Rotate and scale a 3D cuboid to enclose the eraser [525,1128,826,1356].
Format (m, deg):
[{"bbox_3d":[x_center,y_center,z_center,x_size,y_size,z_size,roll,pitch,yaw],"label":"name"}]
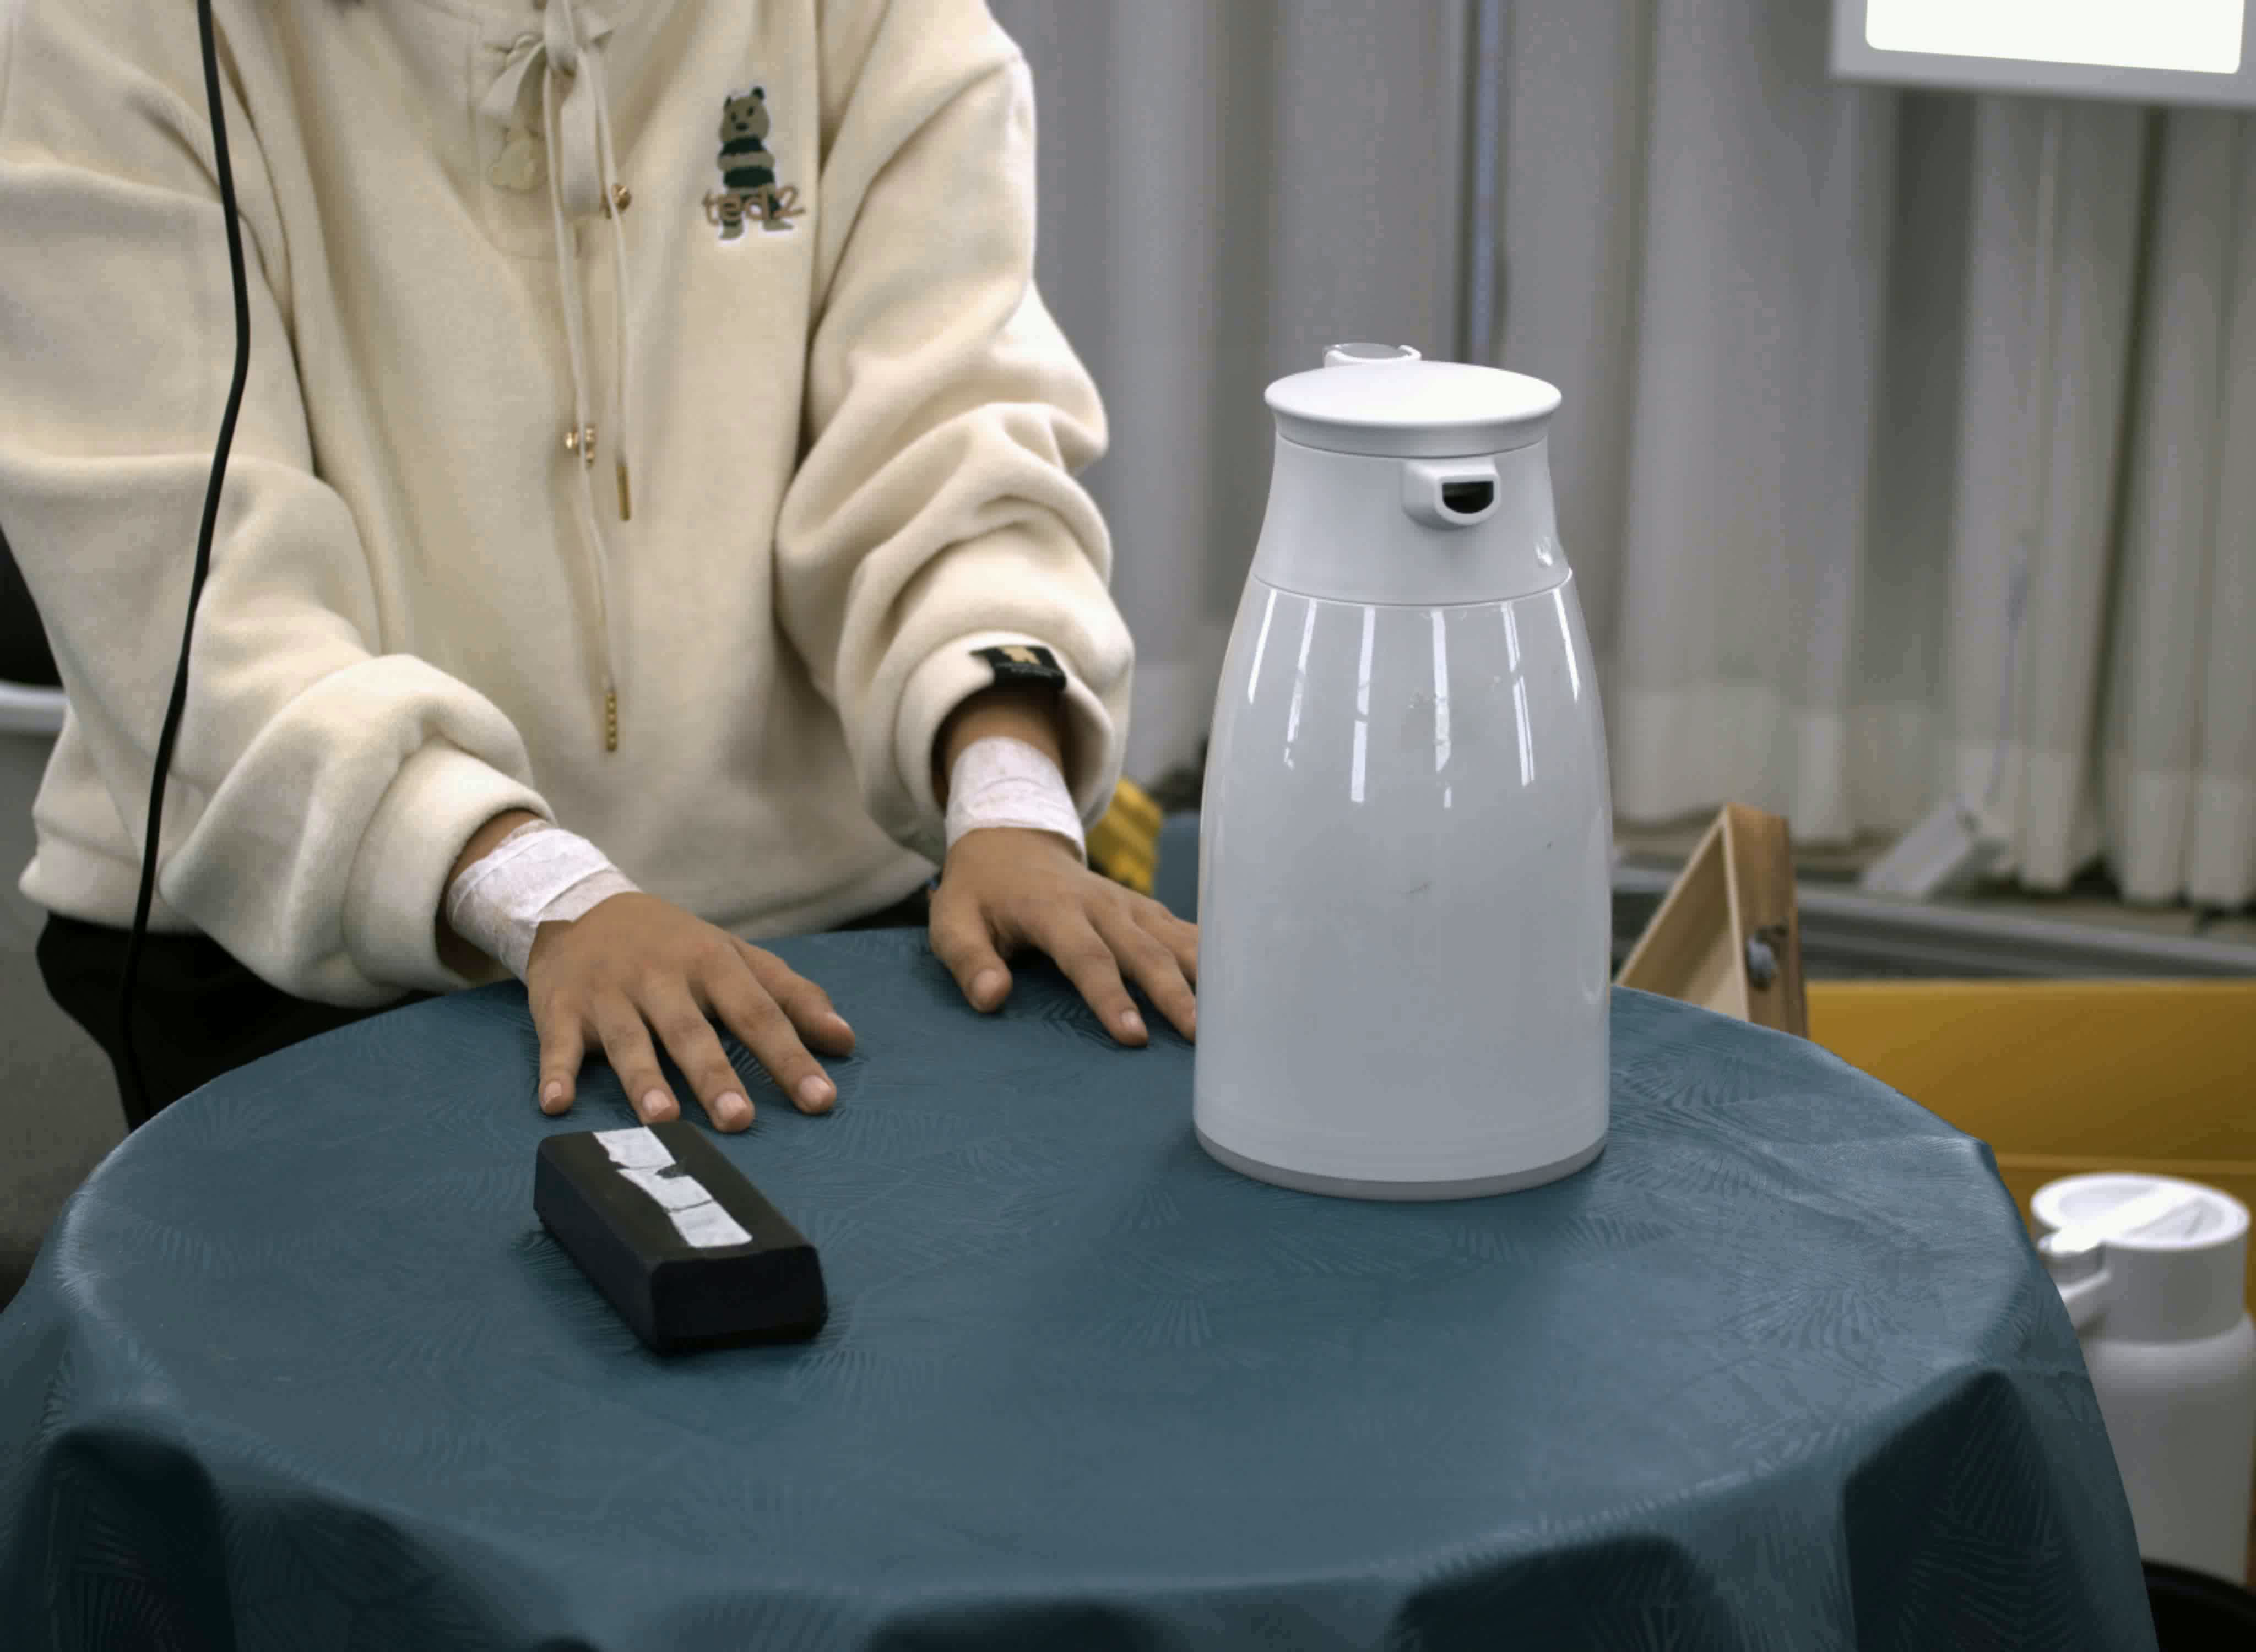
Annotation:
[{"bbox_3d":[-0.133,0.120,1.535,0.054,0.031,0.124,-4,16,-23],"label":"eraser"}]

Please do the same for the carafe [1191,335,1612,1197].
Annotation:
[{"bbox_3d":[0.081,-0.027,1.658,0.132,0.250,0.166,-4,16,-14],"label":"carafe"}]
